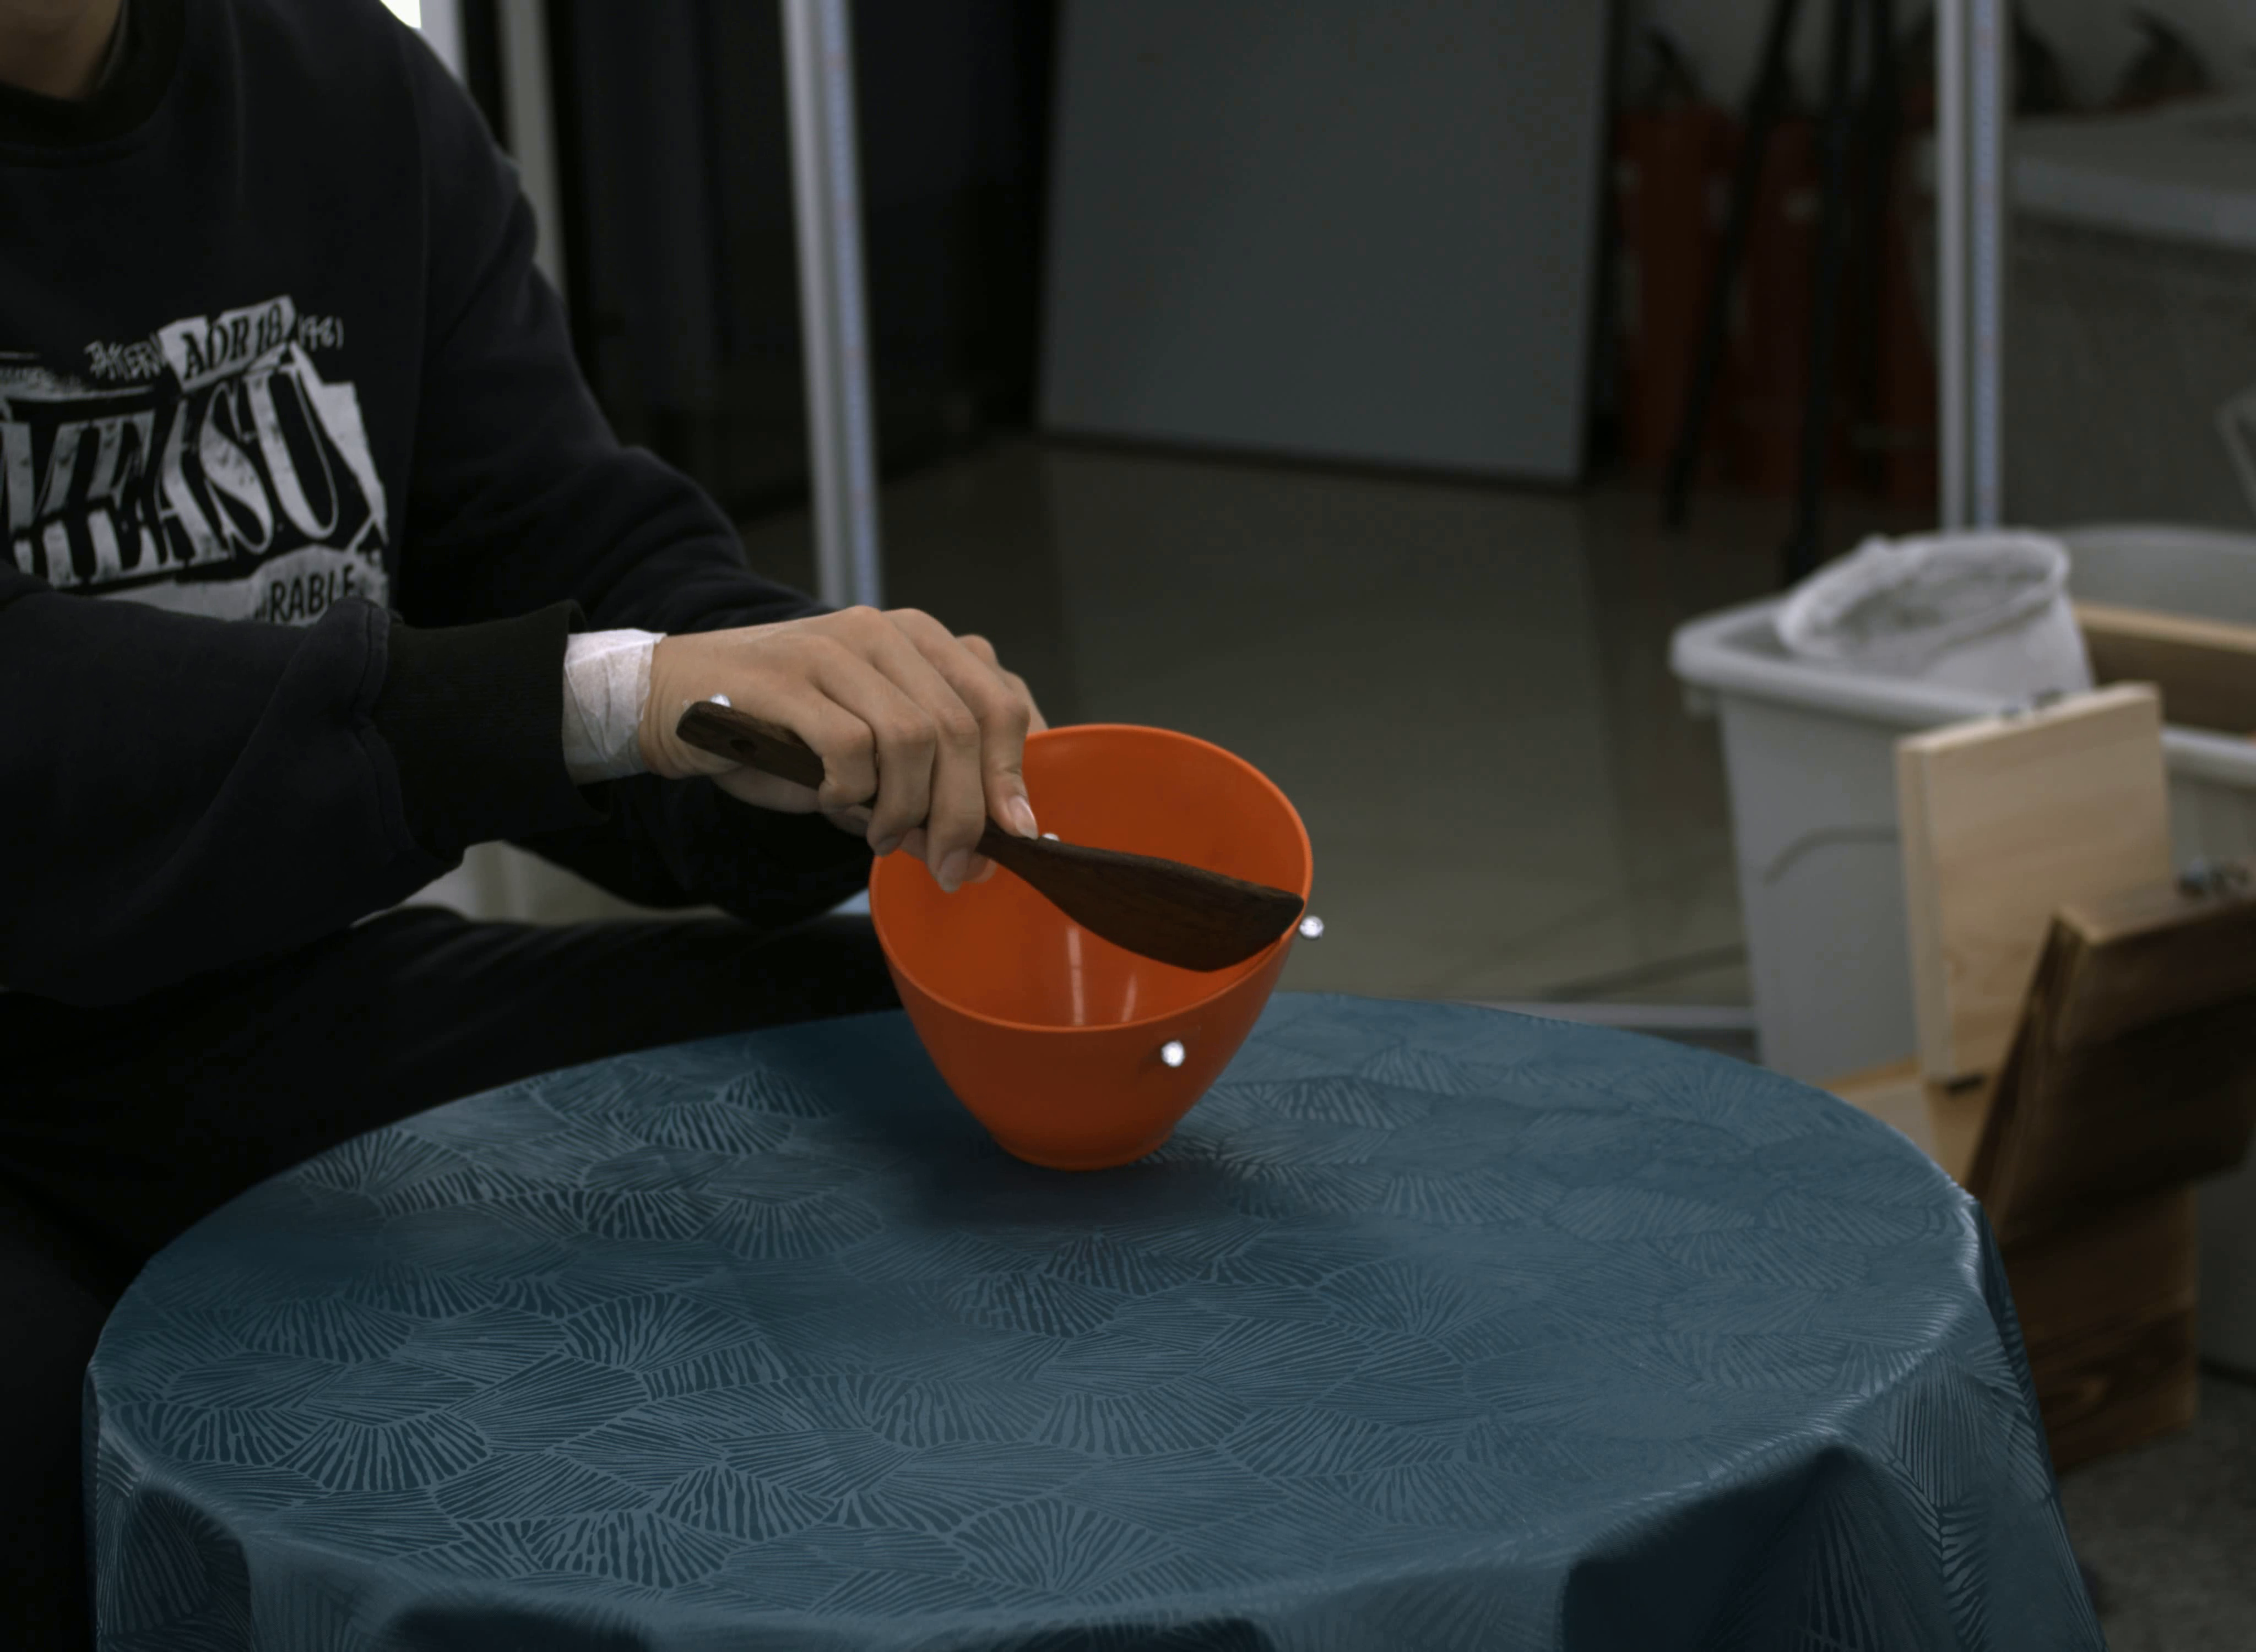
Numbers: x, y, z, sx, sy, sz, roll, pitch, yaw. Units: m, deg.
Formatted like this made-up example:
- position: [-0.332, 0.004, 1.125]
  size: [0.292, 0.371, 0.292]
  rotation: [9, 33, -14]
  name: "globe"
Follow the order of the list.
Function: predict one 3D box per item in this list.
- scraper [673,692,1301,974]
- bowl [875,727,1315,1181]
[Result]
- position: [-0.047, 0.001, 1.731]
  size: [0.208, 0.011, 0.076]
  rotation: [22, -29, -11]
  name: "scraper"
- position: [-0.011, 0.051, 1.803]
  size: [0.146, 0.105, 0.149]
  rotation: [-1, 33, 0]
  name: "bowl"
